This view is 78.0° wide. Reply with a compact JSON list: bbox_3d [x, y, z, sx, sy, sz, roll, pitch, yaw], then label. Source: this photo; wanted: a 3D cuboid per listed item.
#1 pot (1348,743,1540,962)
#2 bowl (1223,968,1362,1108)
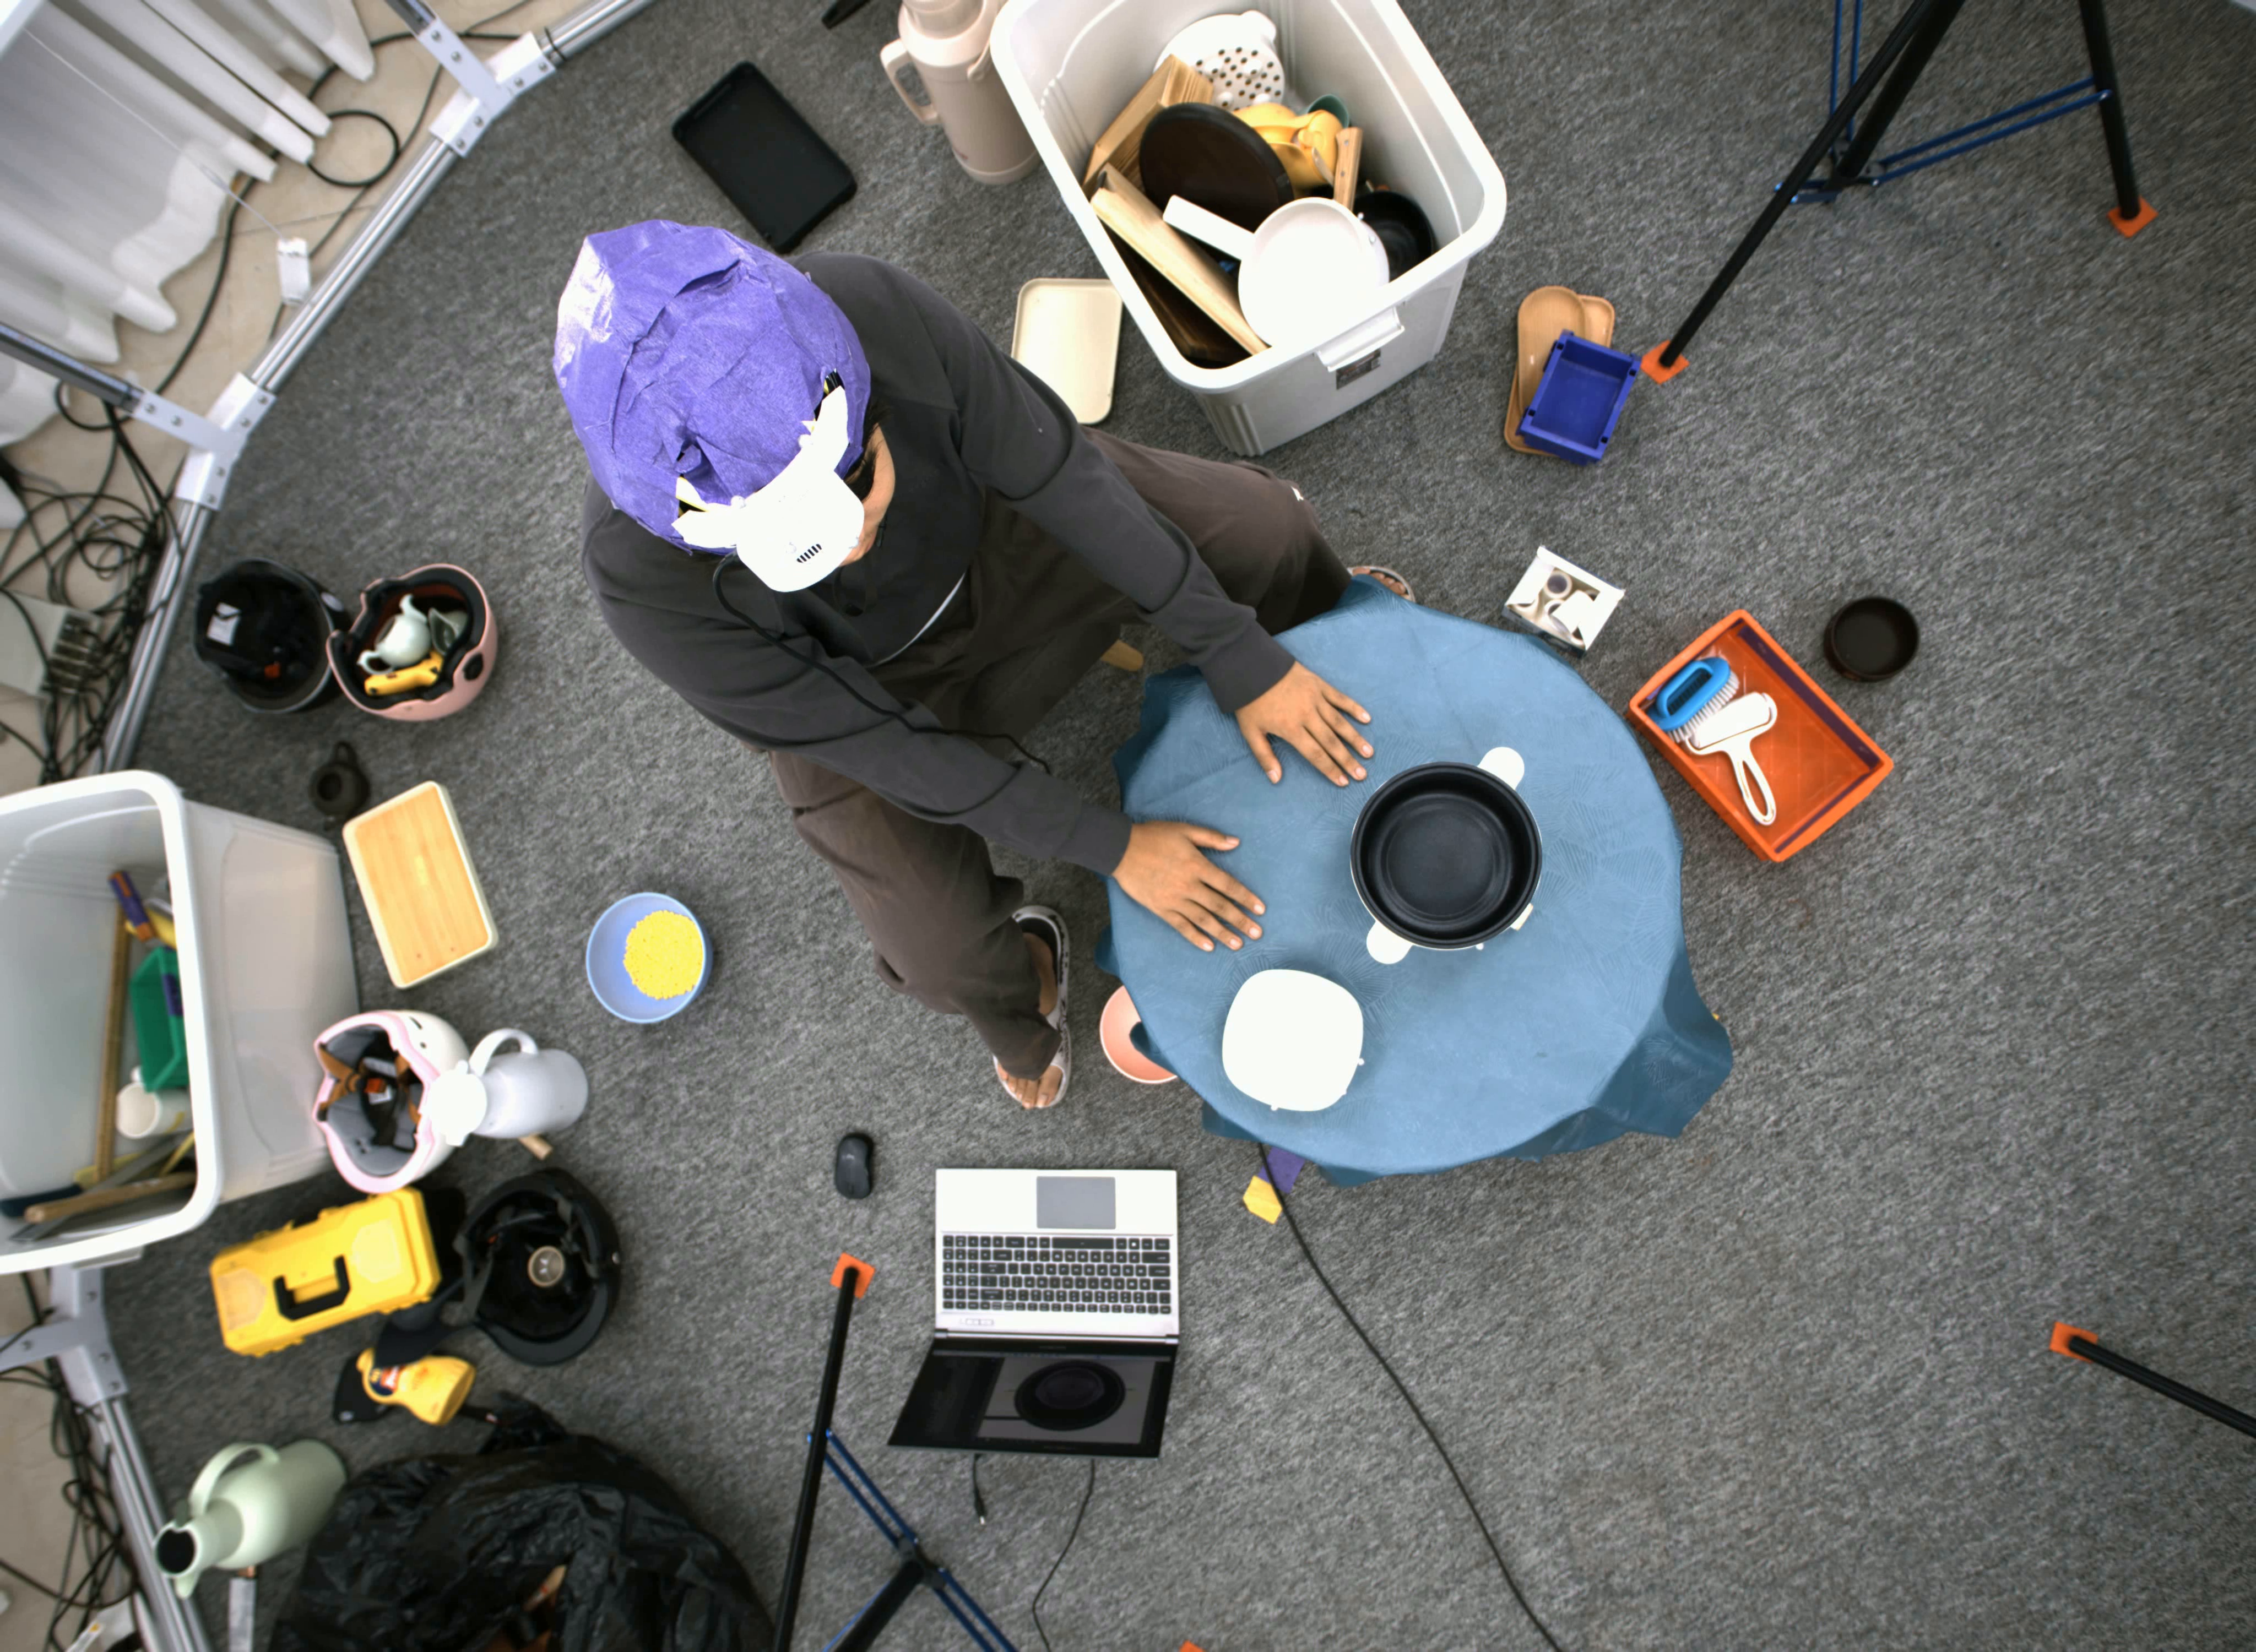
[{"bbox_3d":[0.320,0.032,1.382,0.190,0.142,0.241,32,94,15],"label":"pot"},{"bbox_3d":[0.172,0.218,1.442,0.152,0.058,0.151,-1,87,9],"label":"bowl"}]
